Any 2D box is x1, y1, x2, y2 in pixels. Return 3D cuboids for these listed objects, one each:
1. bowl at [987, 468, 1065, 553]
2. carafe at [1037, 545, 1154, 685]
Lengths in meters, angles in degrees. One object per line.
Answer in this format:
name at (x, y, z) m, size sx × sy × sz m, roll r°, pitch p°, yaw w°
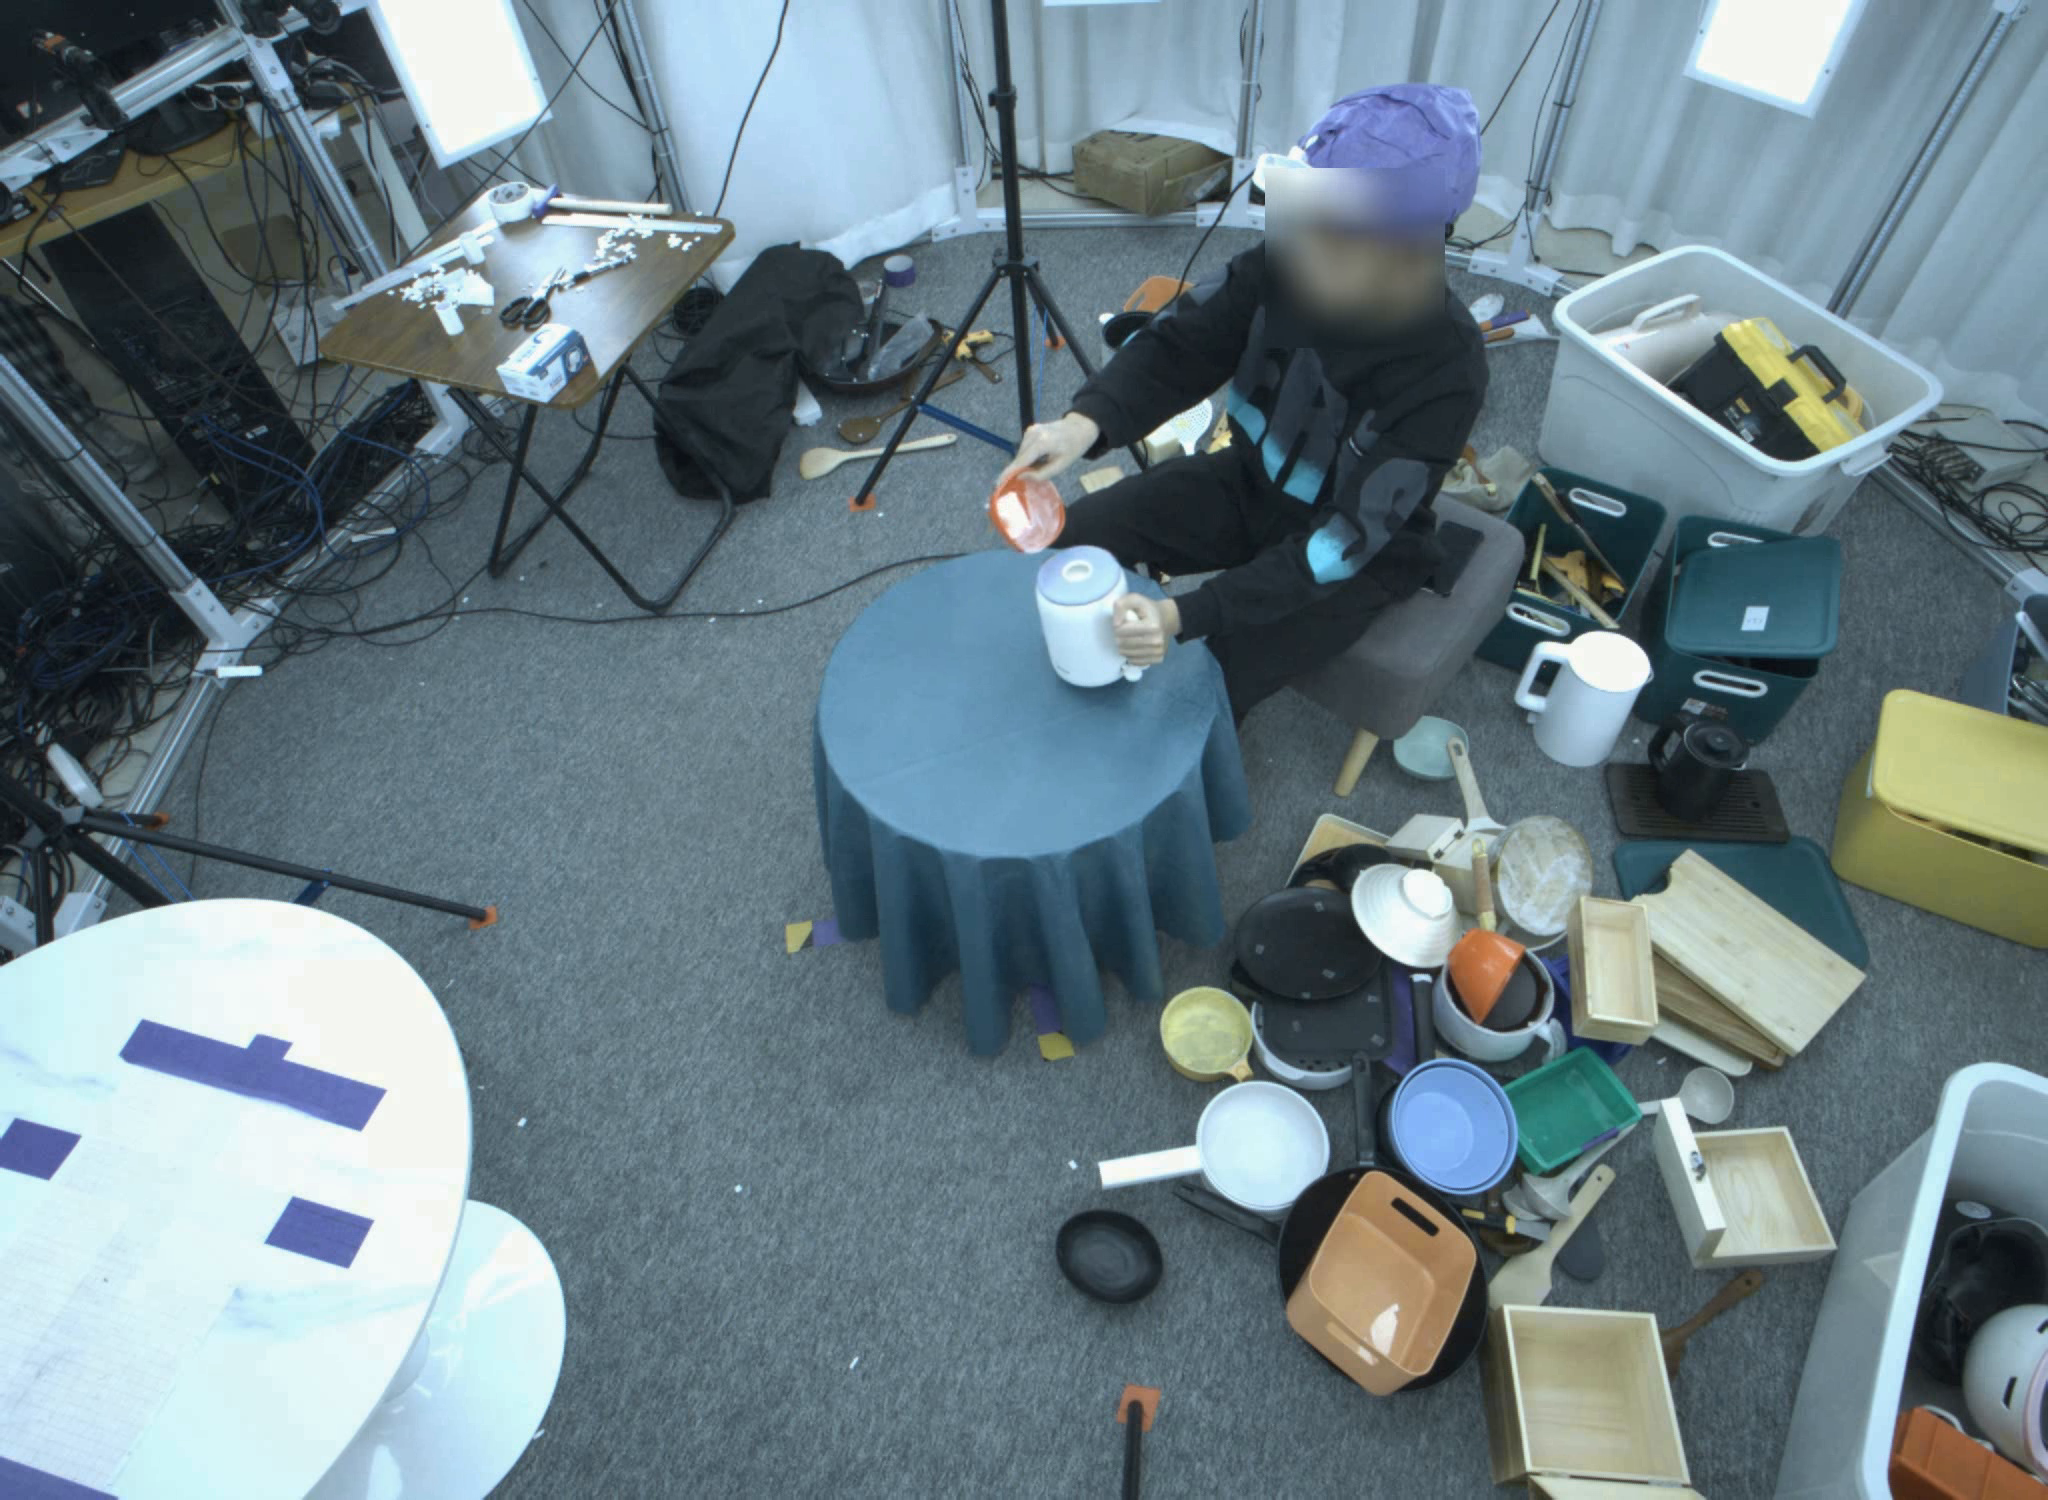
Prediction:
bowl at (-0.006, -0.328, 1.694) m, size 0.119 × 0.120 × 0.050 m, roll -46°, pitch 23°, yaw -25°
carafe at (0.109, -0.183, 1.770) m, size 0.187 × 0.185 × 0.133 m, roll 34°, pitch 67°, yaw 30°
